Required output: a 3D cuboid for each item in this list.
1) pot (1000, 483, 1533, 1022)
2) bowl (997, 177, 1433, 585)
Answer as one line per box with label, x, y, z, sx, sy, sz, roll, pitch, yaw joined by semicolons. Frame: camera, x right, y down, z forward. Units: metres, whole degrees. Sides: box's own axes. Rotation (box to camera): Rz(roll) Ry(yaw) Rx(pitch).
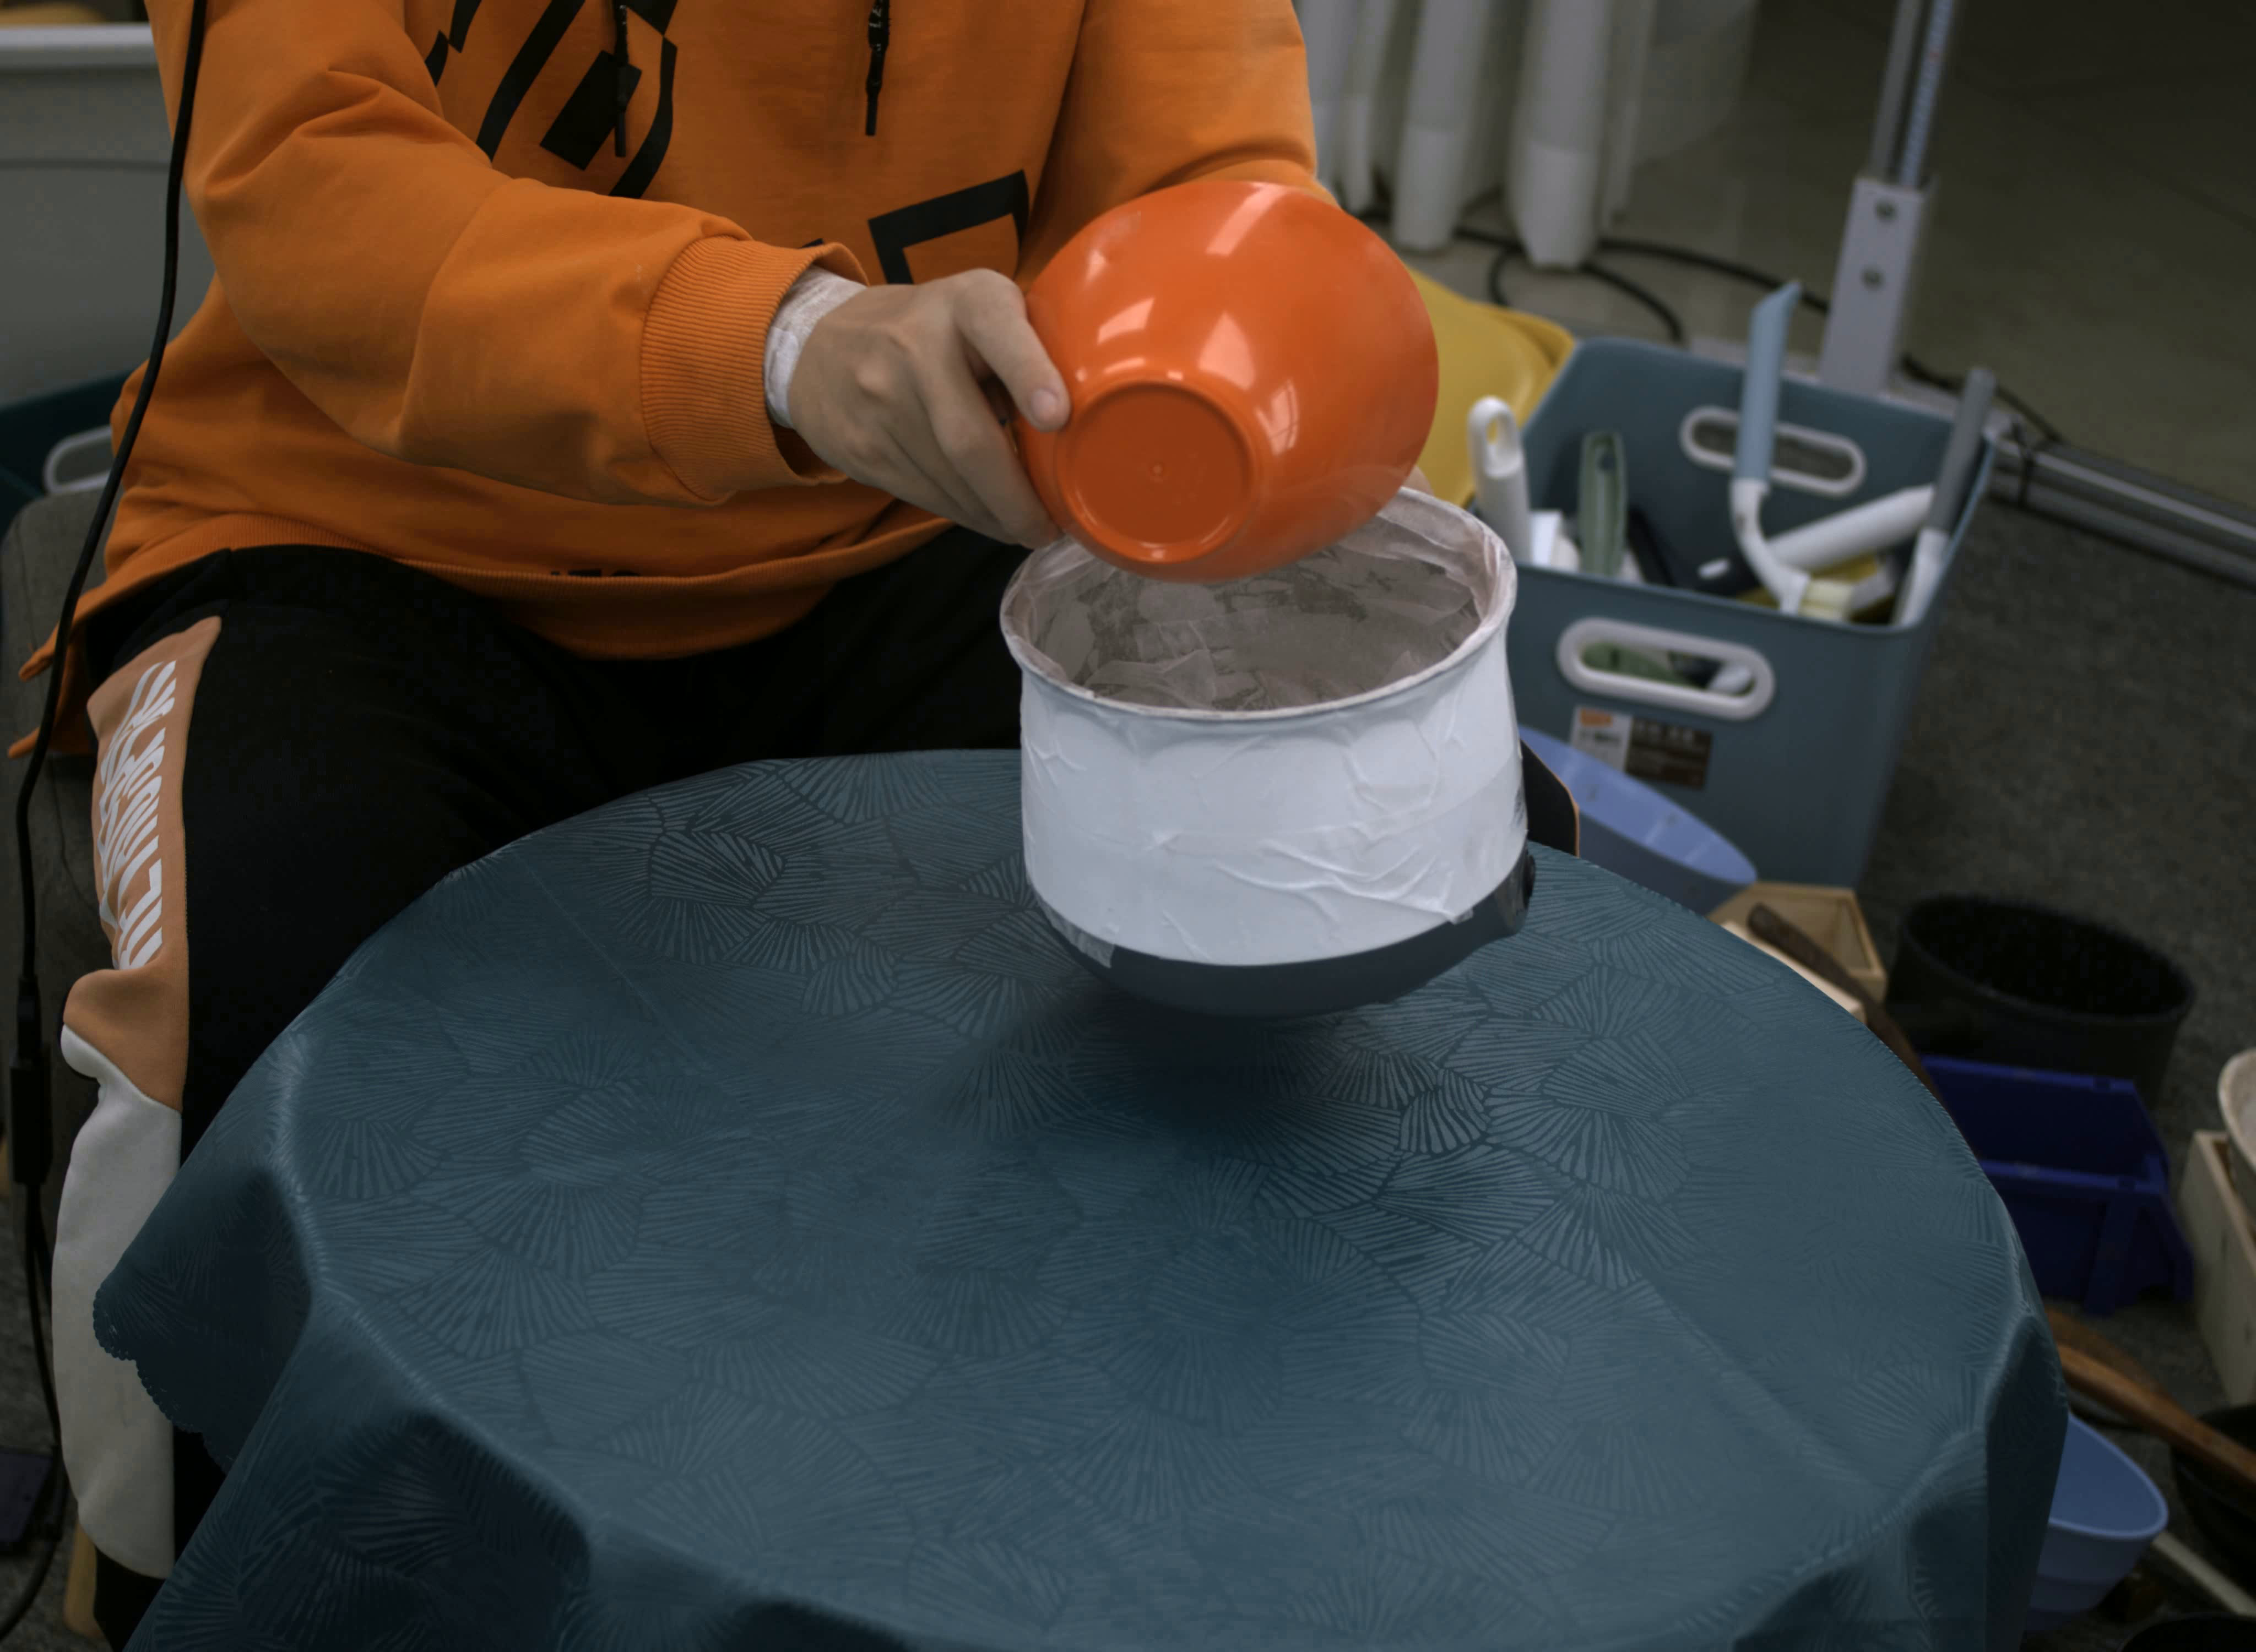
pot;0.053;-0.040;1.867;0.178;0.136;0.235;0;30;9
bowl;0.025;-0.135;1.781;0.148;0.147;0.105;9;27;4
